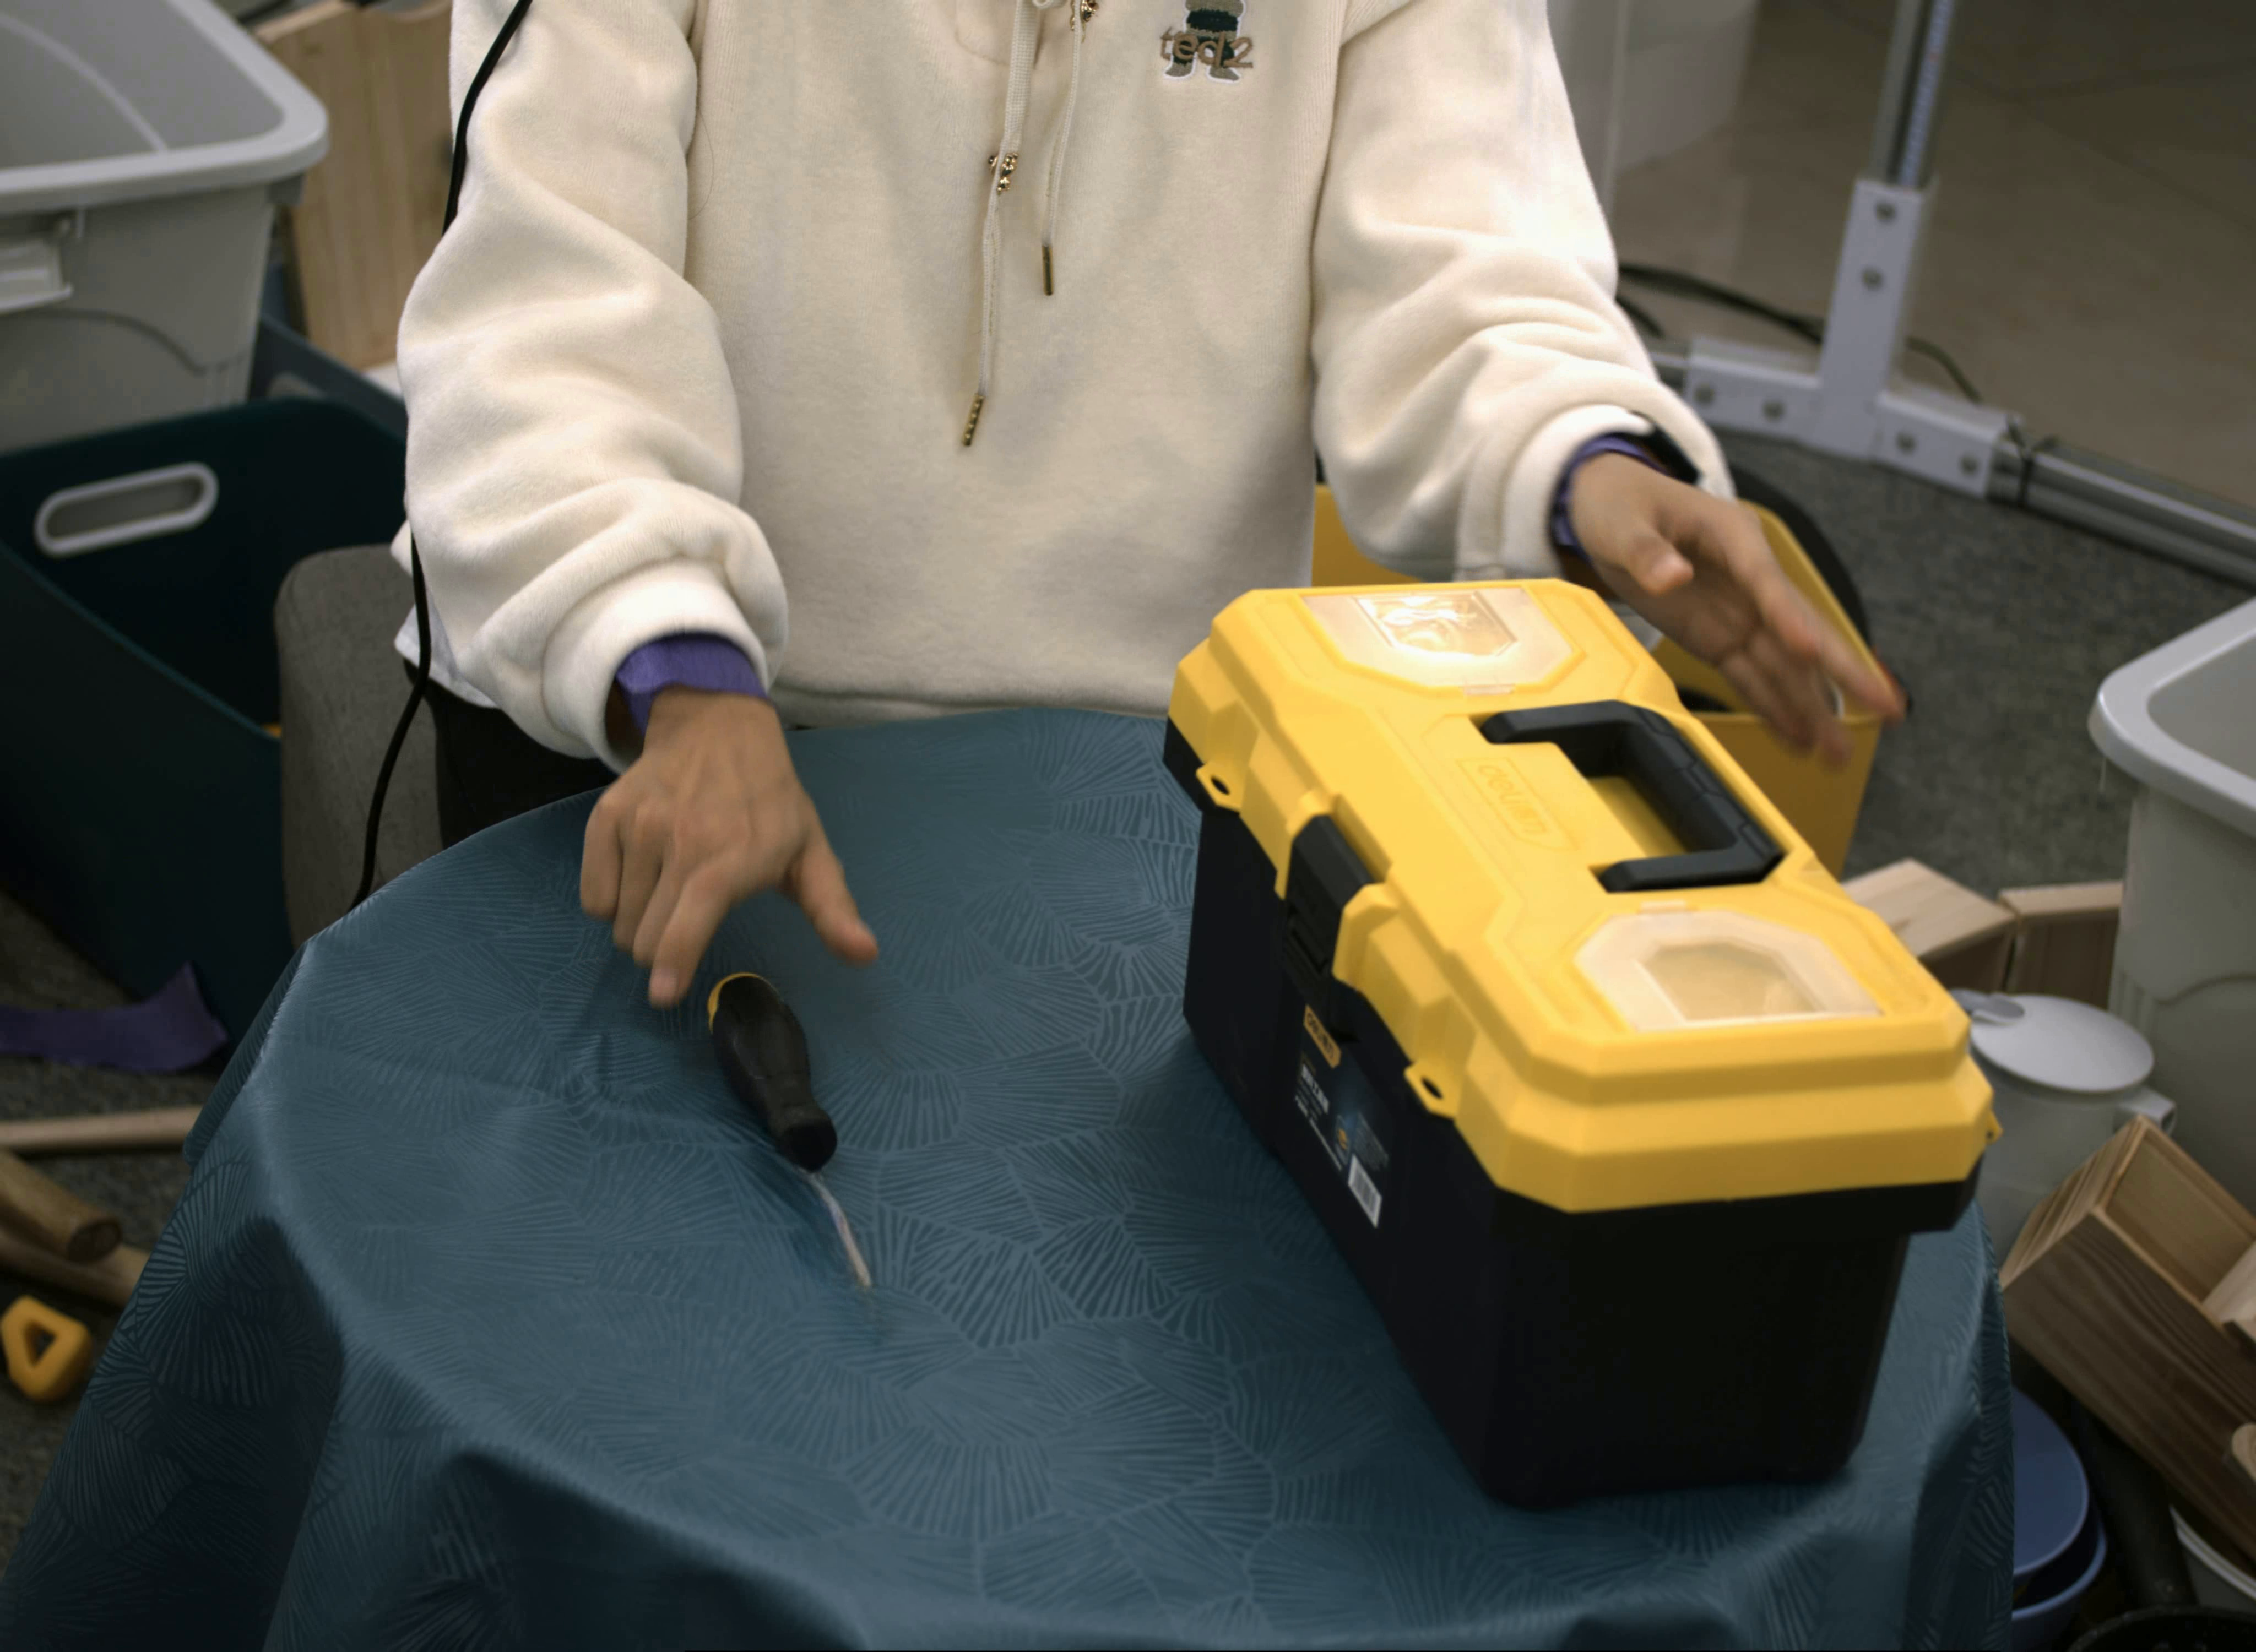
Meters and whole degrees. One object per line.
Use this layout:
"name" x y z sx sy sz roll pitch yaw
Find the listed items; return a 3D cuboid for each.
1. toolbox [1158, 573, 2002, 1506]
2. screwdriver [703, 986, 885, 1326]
"toolbox" 0.135 0.063 1.760 0.180 0.172 0.354 -3 28 -18
"screwdriver" -0.110 0.114 1.785 0.031 0.031 0.199 -2 32 -18
